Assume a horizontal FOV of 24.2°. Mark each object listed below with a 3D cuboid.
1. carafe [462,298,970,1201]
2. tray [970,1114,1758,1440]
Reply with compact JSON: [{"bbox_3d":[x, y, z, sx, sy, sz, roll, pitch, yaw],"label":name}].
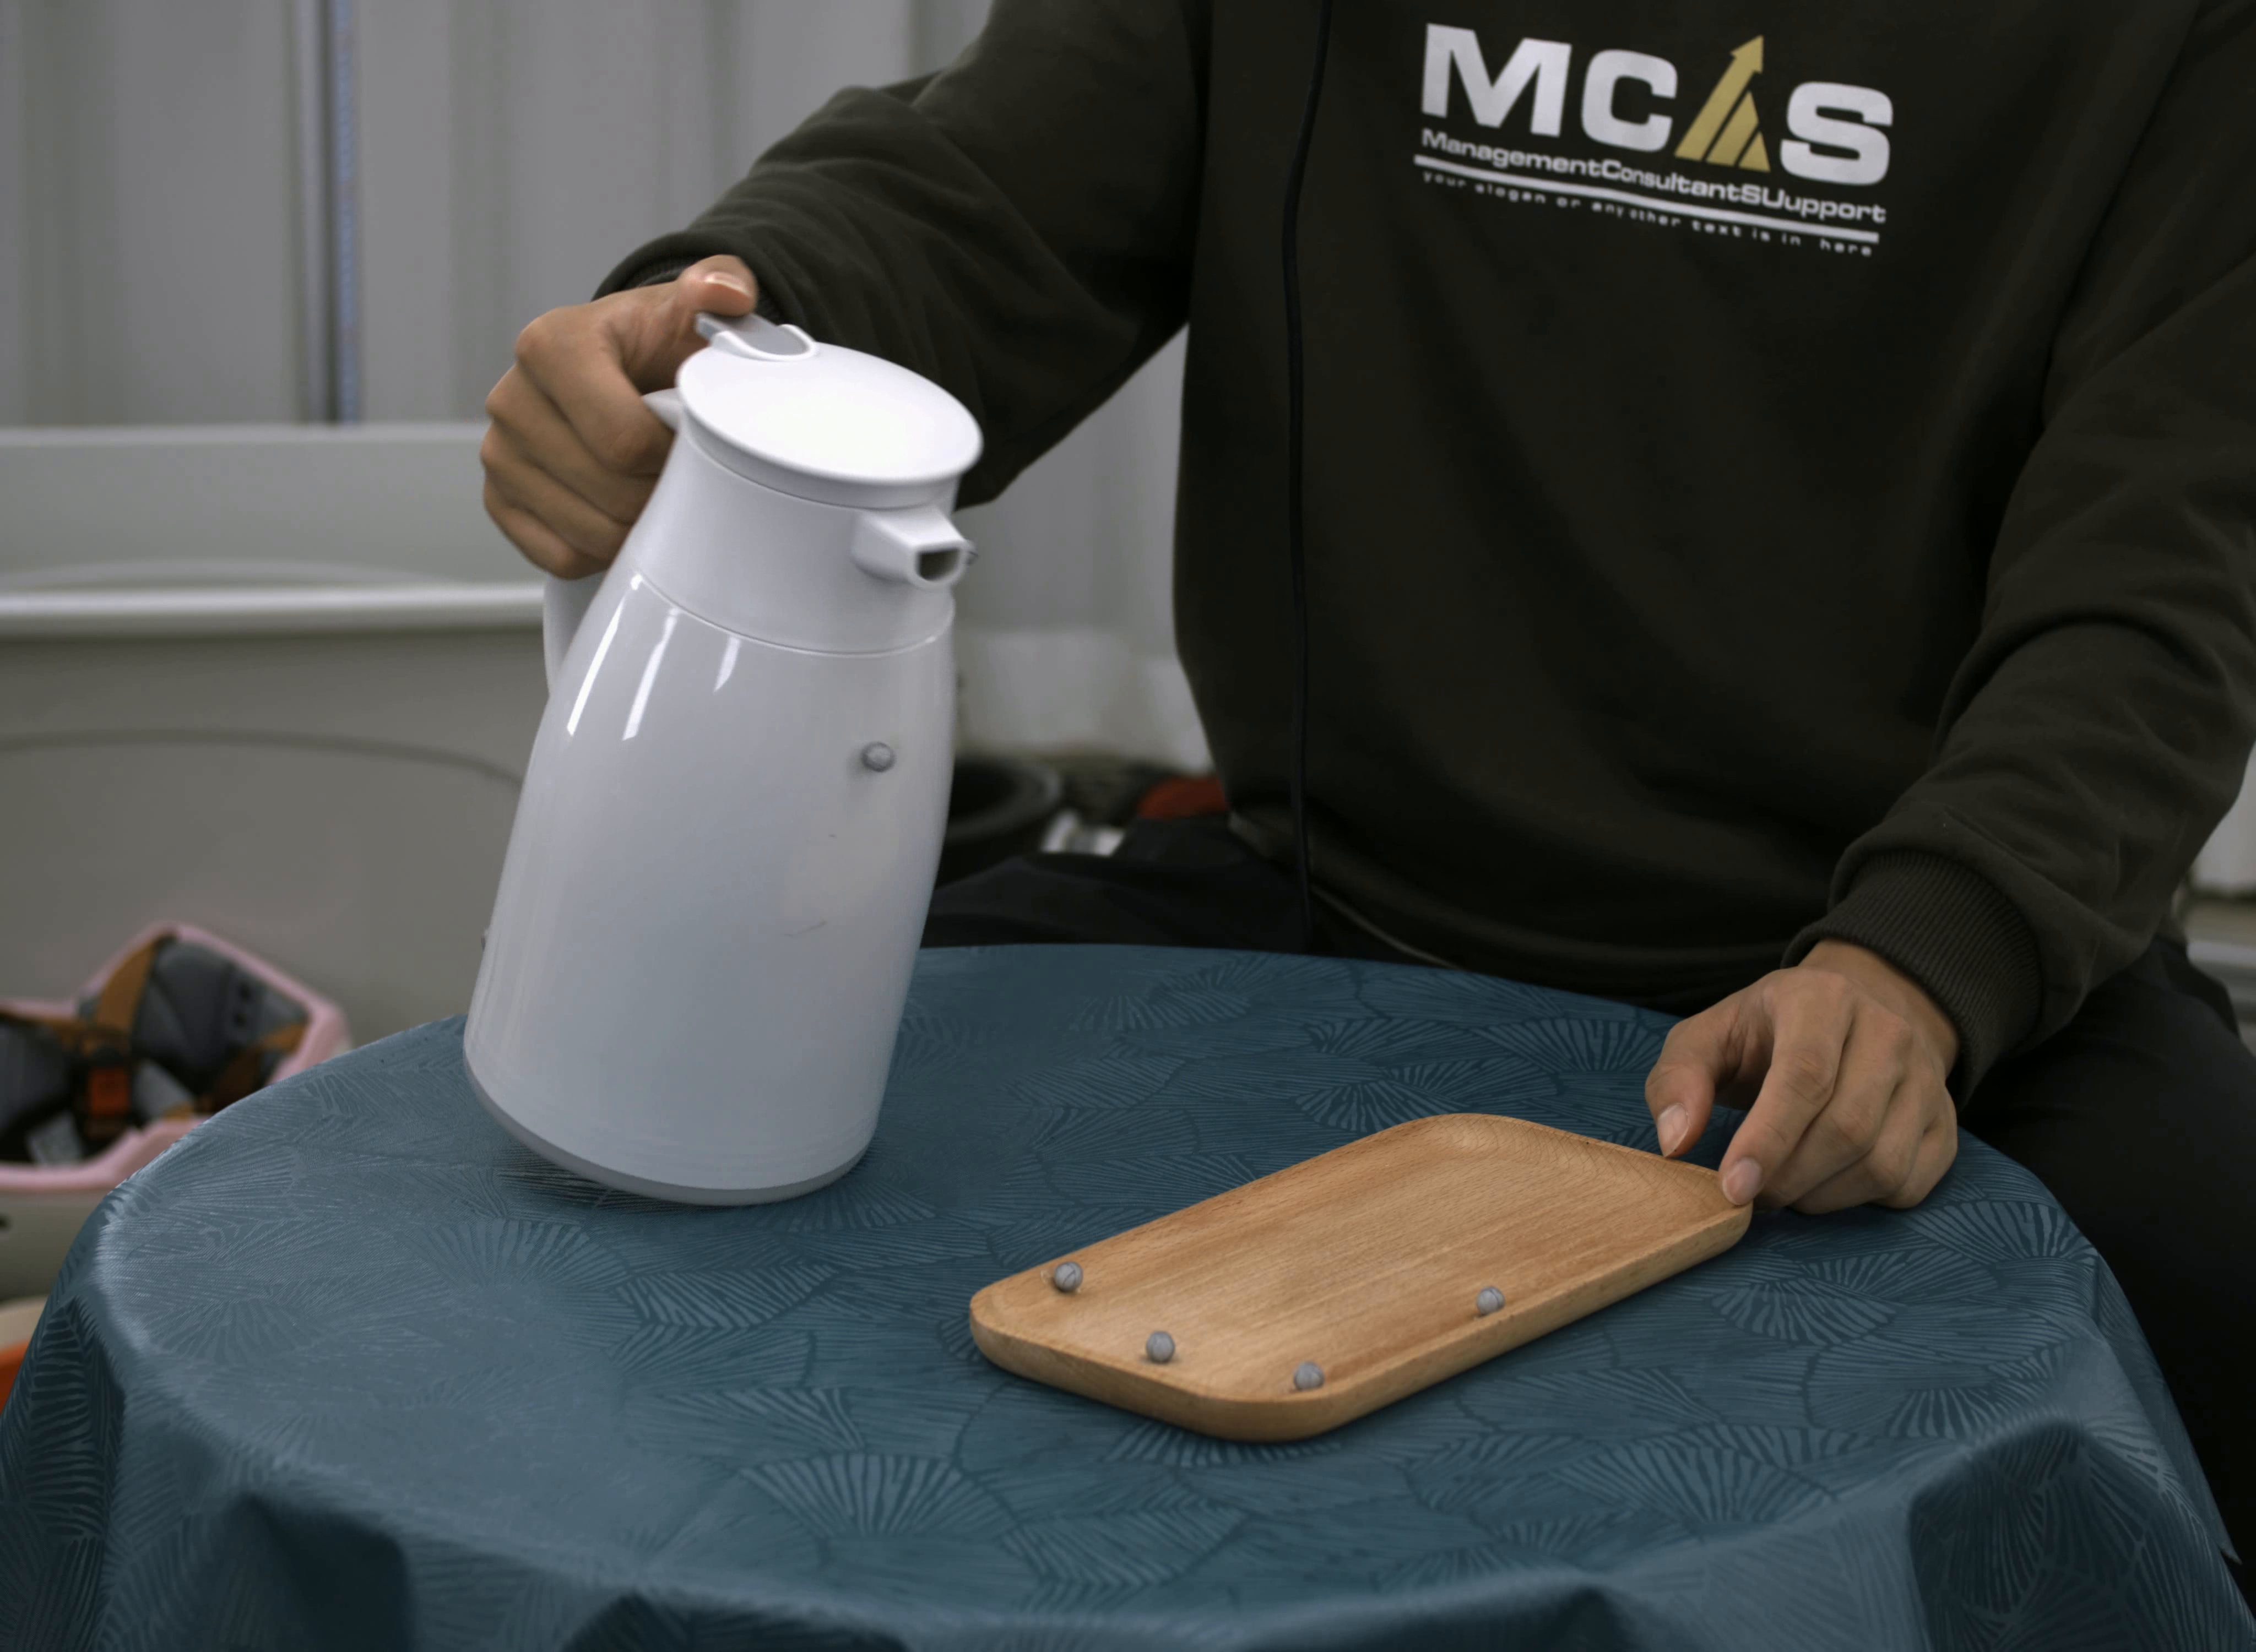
[{"bbox_3d":[-0.130,-0.033,1.608,0.133,0.250,0.165,-12,37,-40],"label":"carafe"},{"bbox_3d":[0.073,0.129,1.544,0.129,0.023,0.252,16,21,38],"label":"tray"}]
